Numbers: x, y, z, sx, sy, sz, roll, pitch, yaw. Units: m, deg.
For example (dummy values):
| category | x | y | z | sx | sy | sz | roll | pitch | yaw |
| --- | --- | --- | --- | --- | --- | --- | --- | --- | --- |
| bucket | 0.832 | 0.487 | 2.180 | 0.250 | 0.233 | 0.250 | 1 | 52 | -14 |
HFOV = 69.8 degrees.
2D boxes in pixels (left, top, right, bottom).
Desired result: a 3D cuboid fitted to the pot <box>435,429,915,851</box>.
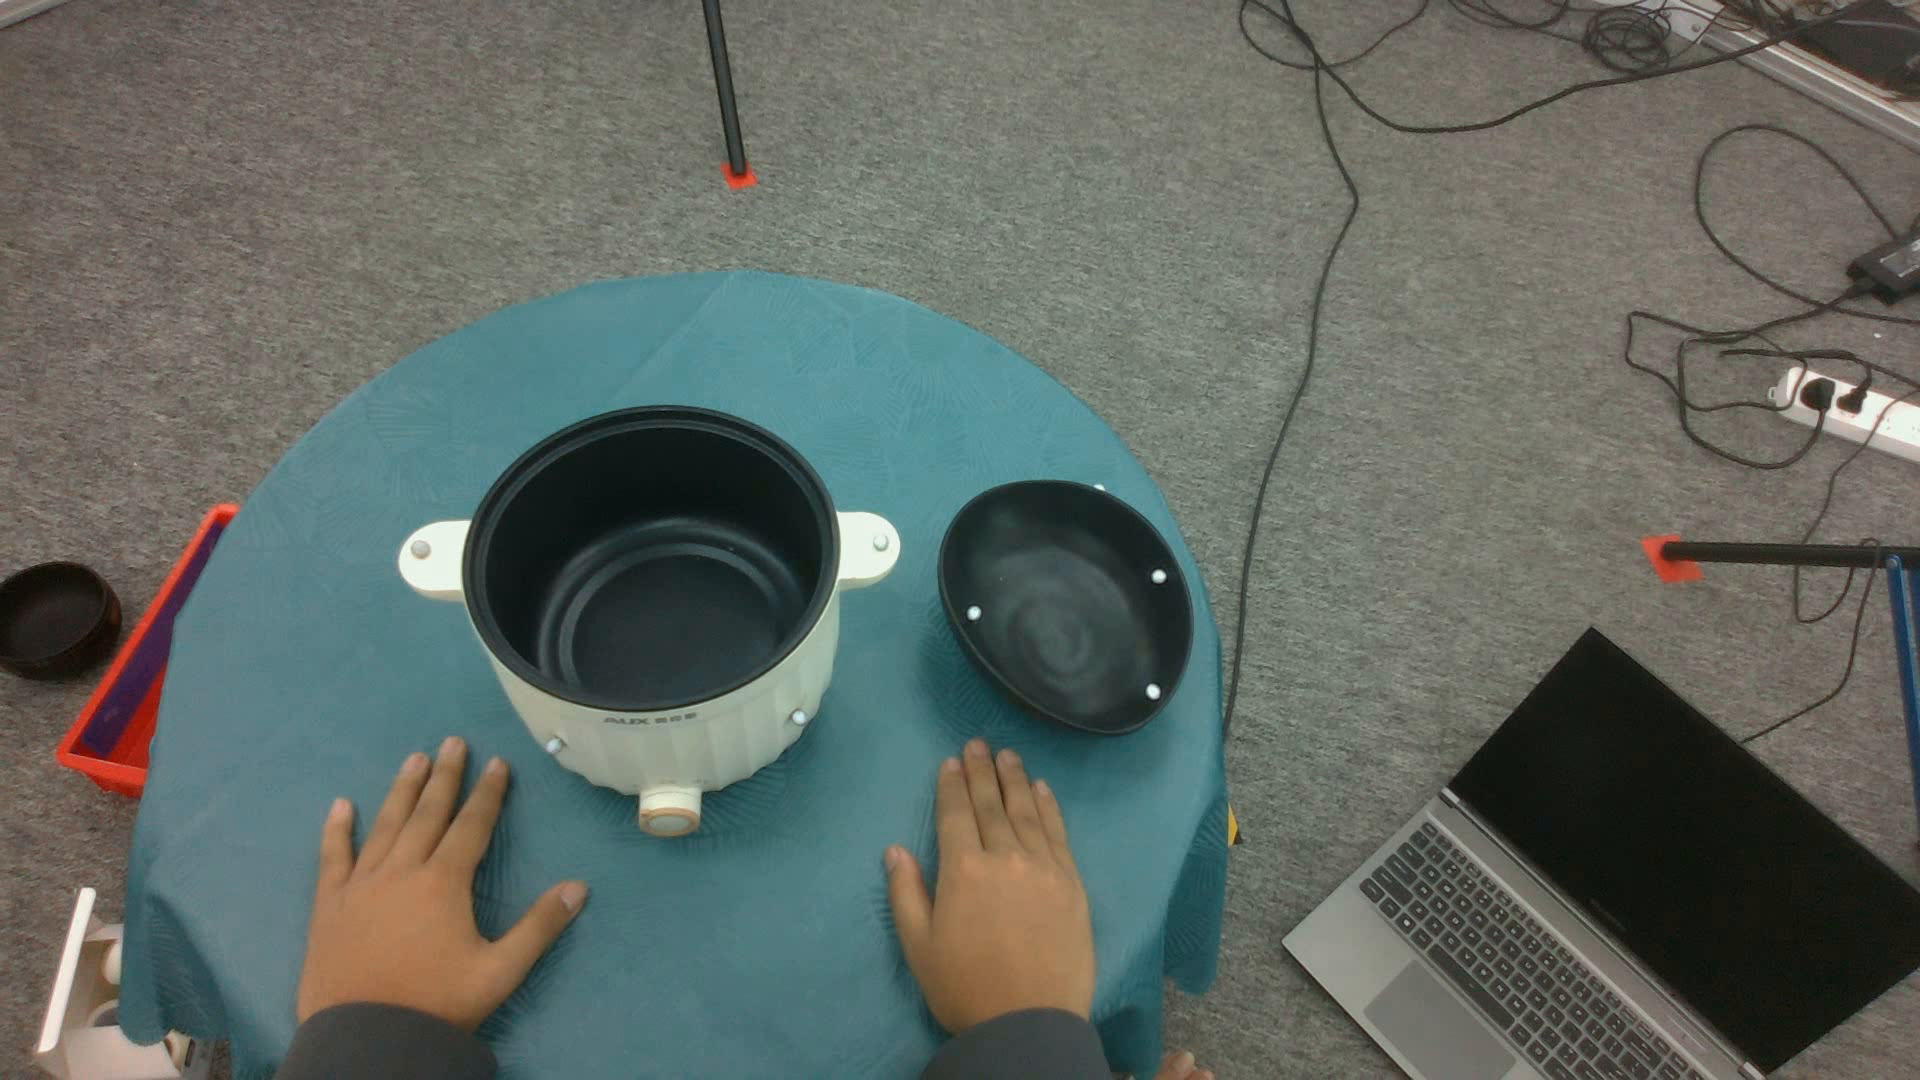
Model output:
| category | x | y | z | sx | sy | sz | roll | pitch | yaw |
| --- | --- | --- | --- | --- | --- | --- | --- | --- | --- |
| pot | -0.142 | 0.056 | 0.743 | 0.240 | 0.142 | 0.191 | -6 | 52 | -4 |

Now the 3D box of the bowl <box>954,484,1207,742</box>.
| category | x | y | z | sx | sy | sz | roll | pitch | yaw |
| --- | --- | --- | --- | --- | --- | --- | --- | --- | --- |
| bowl | 0.068 | 0.048 | 0.802 | 0.138 | 0.066 | 0.170 | -24 | 60 | -17 |
